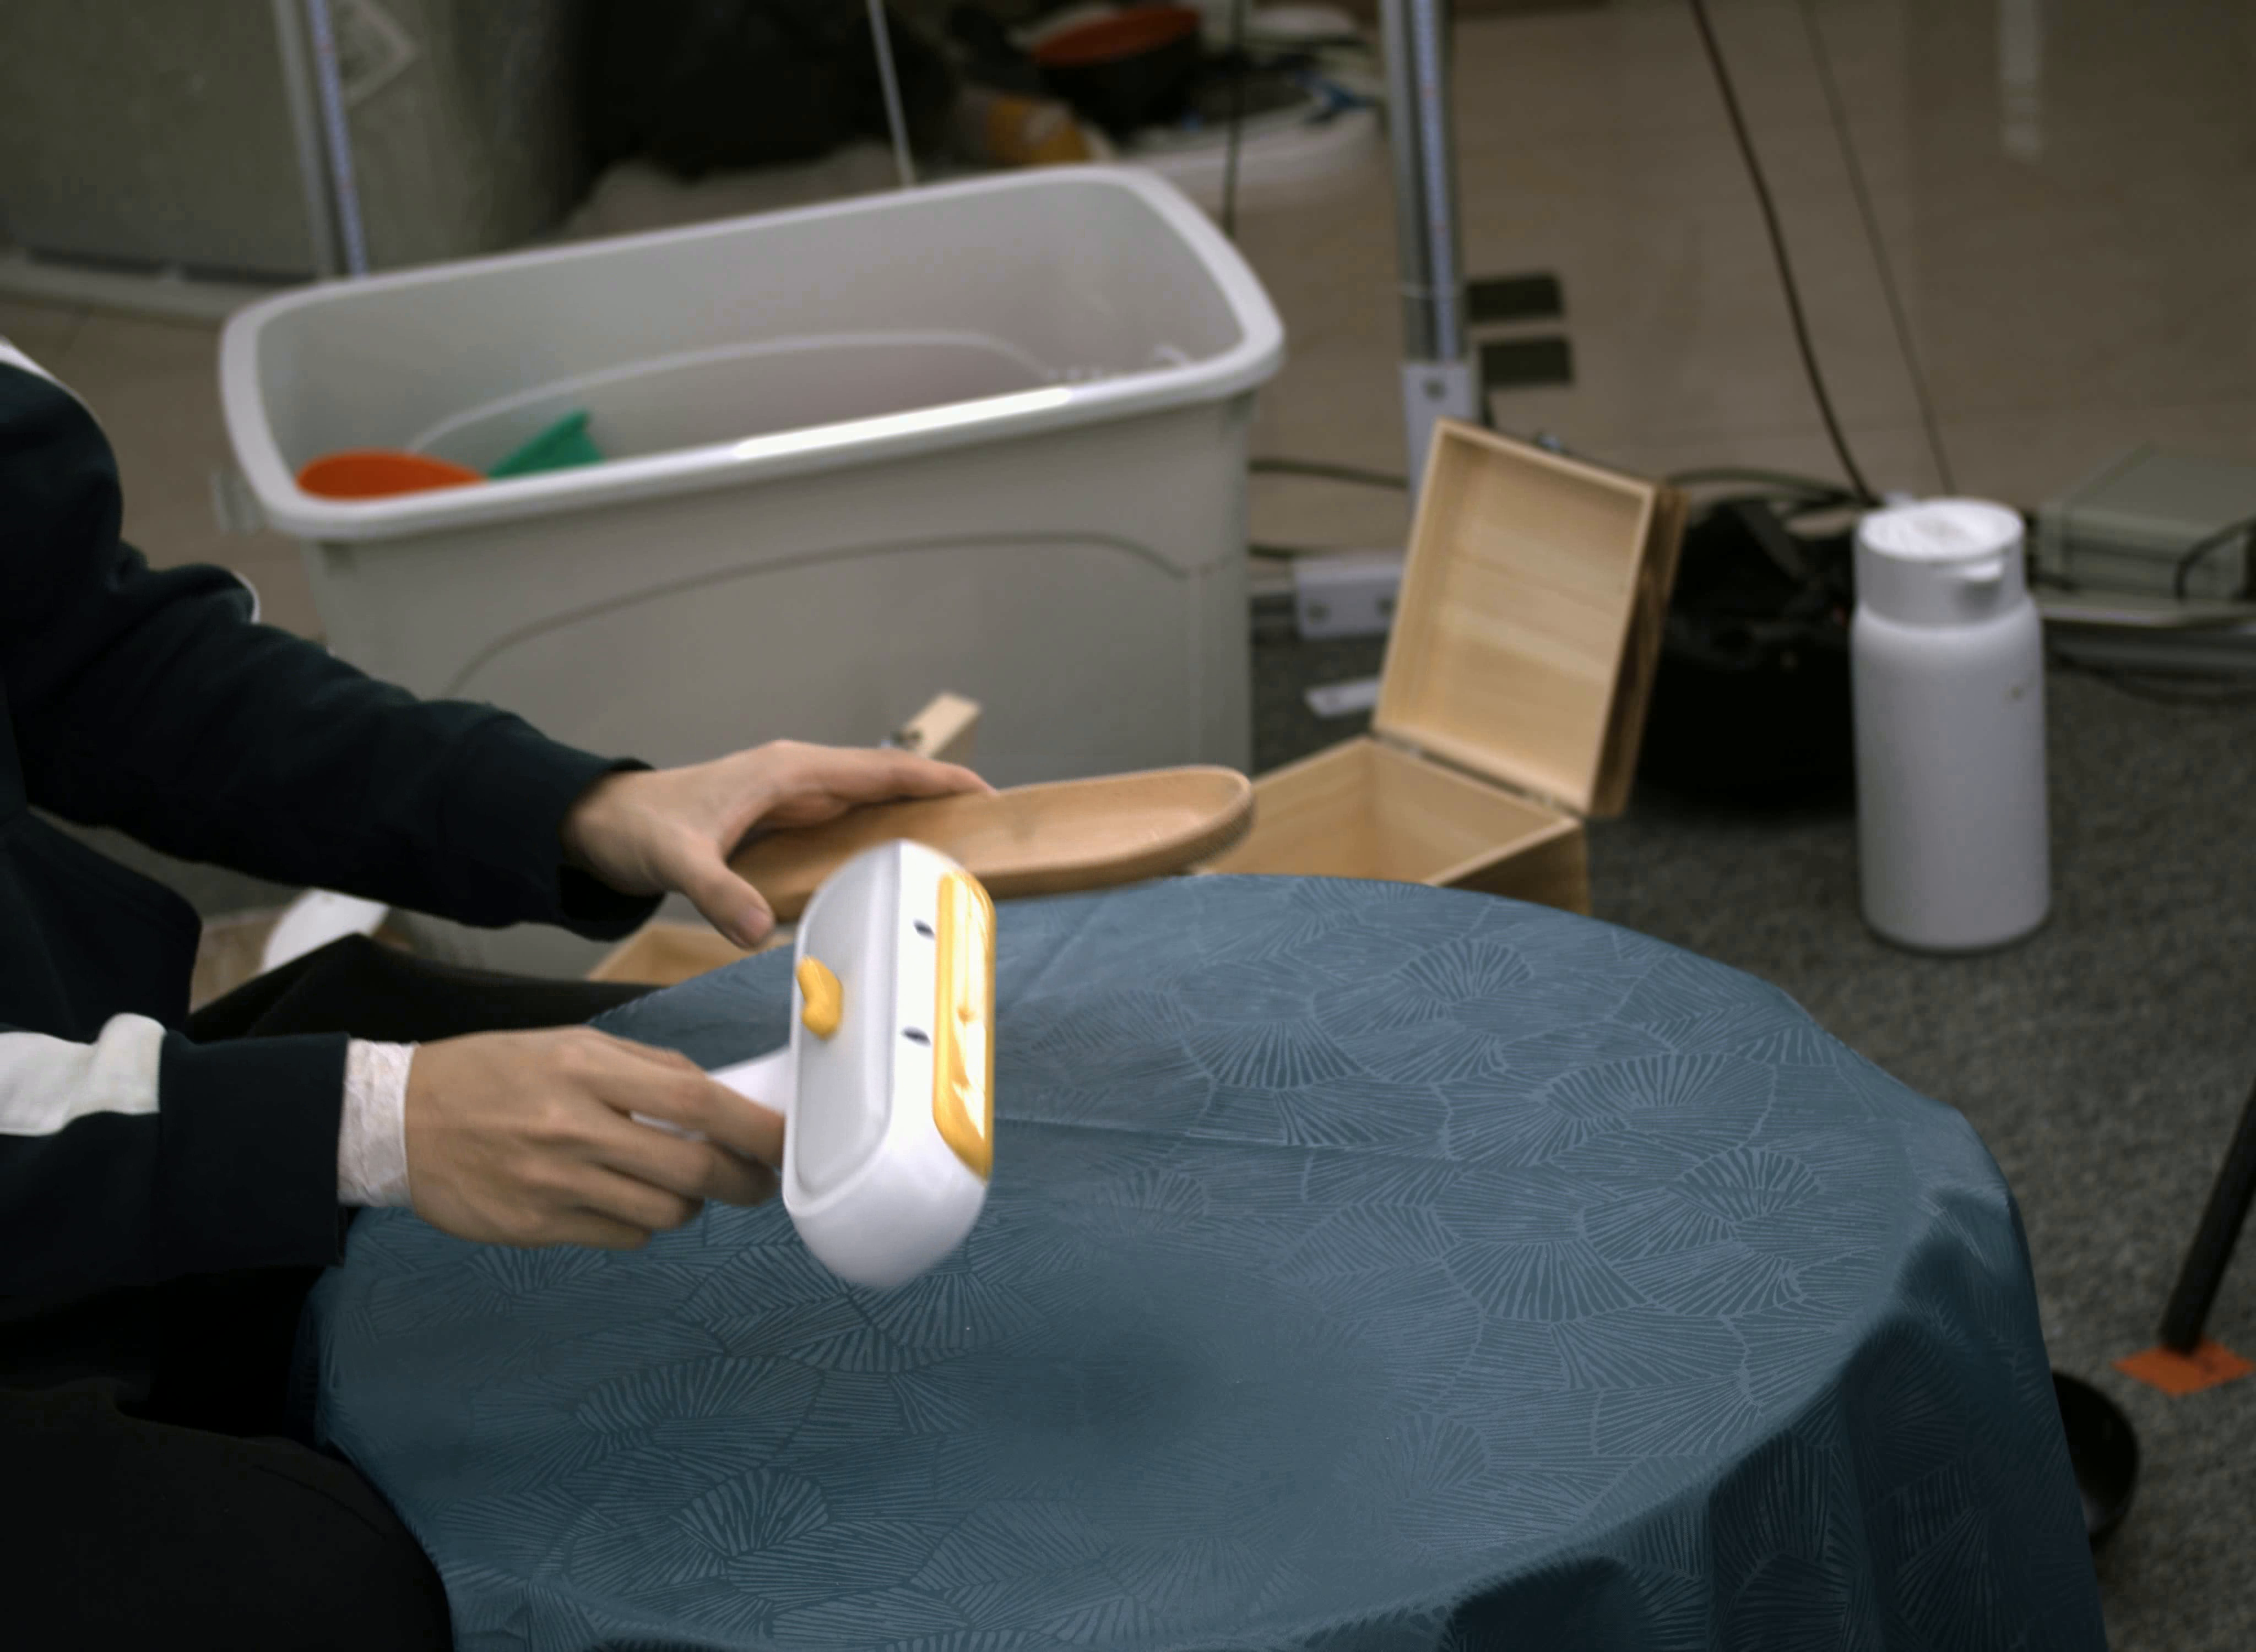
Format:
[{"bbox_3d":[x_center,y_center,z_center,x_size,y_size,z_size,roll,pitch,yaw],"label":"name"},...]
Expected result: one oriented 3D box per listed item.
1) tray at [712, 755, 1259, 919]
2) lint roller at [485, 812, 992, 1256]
[{"bbox_3d":[-0.056,0.005,2.198,0.231,0.020,0.100,-6,20,27],"label":"tray"},{"bbox_3d":[-0.137,0.096,2.002,0.193,0.075,0.189,-31,39,19],"label":"lint roller"}]
